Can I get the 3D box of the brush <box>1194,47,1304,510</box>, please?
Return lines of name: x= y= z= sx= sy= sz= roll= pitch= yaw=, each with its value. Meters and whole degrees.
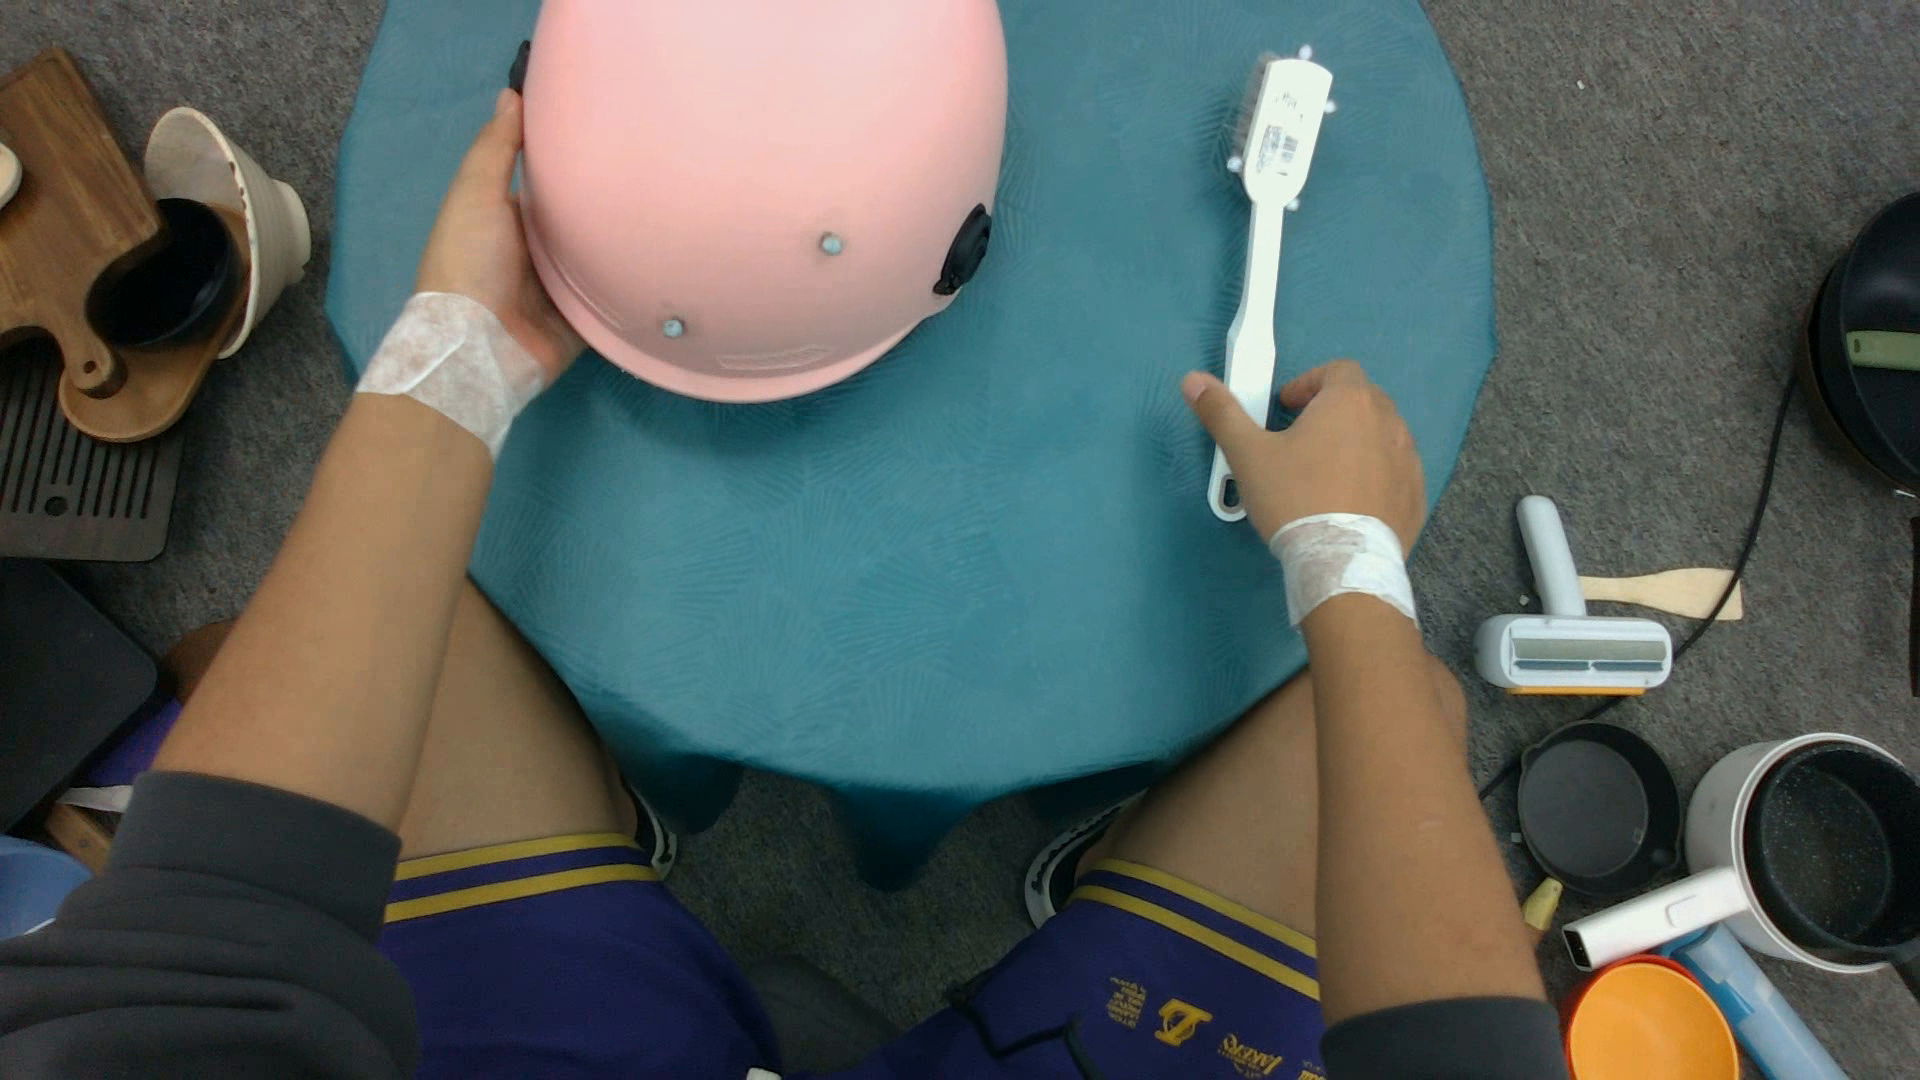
brush: x=0.142 y=-0.137 z=0.720 sx=0.034 sy=0.050 sz=0.243 roll=7 pitch=91 yaw=-10

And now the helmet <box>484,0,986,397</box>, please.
helmet: x=-0.093 y=-0.210 z=0.615 sx=0.234 sy=0.158 sz=0.267 roll=18 pitch=68 yaw=-6
